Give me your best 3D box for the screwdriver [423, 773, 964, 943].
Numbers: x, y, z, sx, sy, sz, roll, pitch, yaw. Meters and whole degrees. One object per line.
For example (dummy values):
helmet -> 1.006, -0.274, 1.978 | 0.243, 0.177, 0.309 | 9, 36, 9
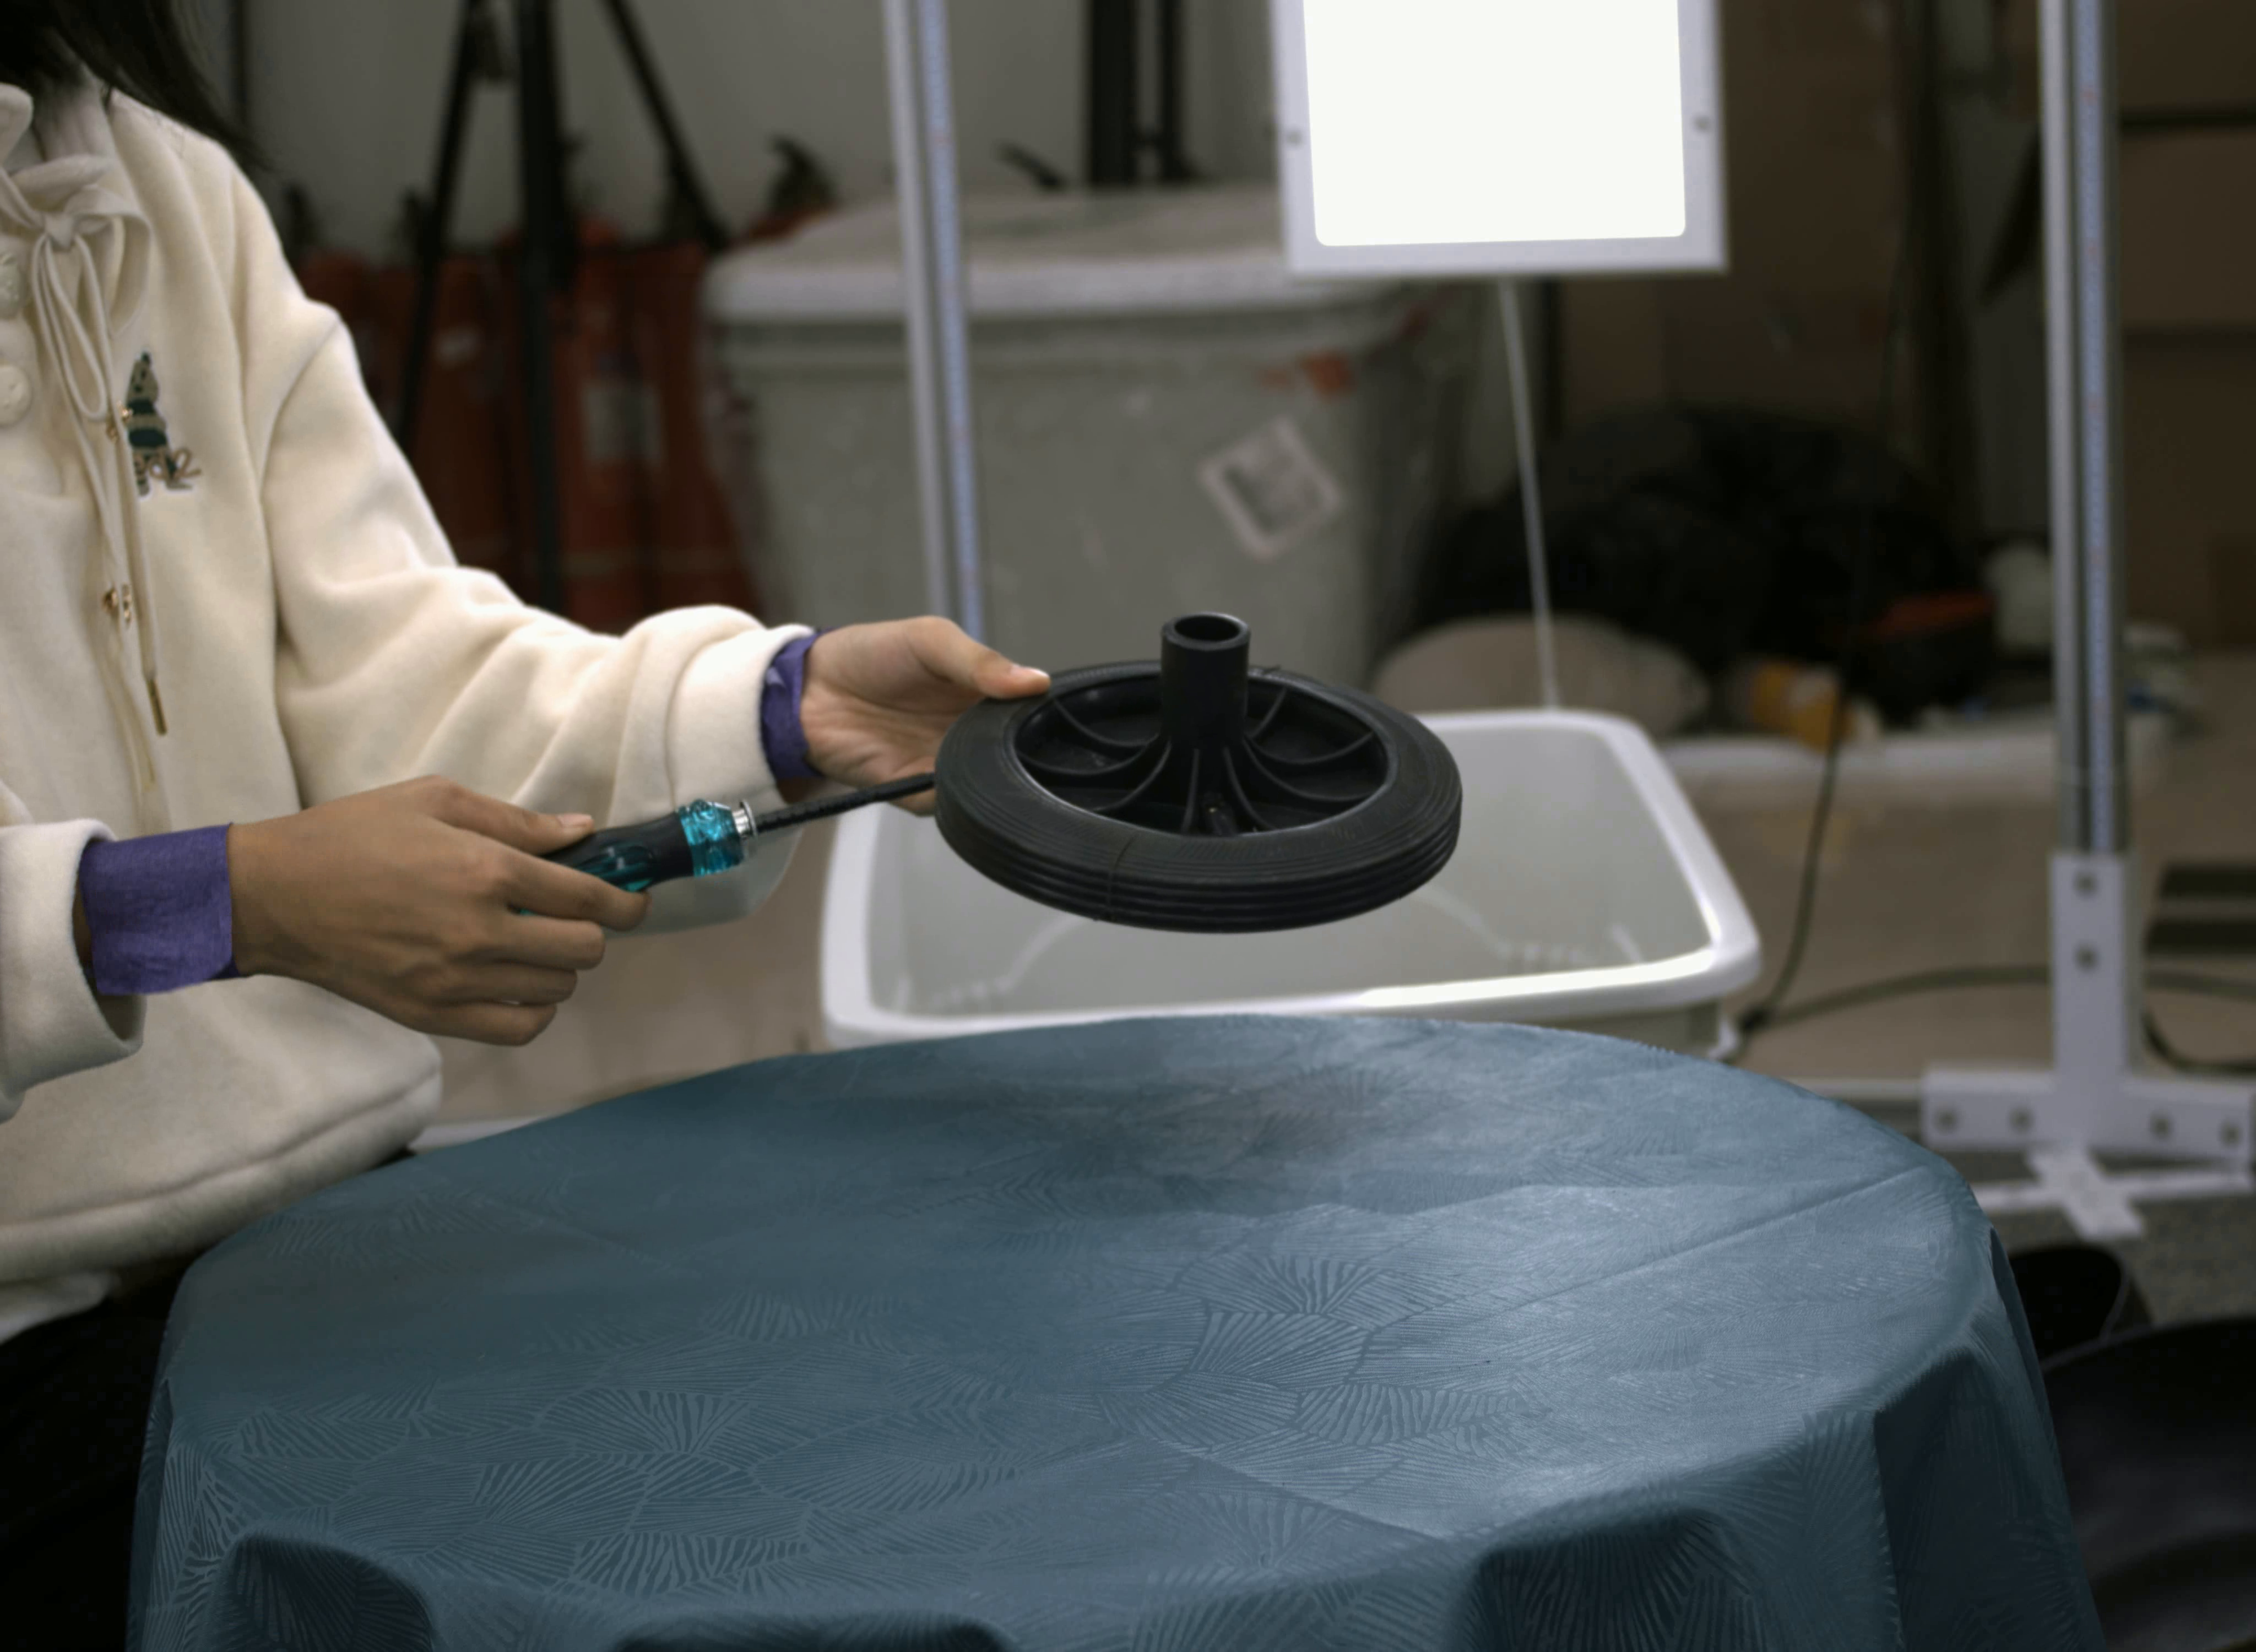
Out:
screwdriver -> -0.146, 0.006, 1.876 | 0.187, 0.034, 0.034 | -14, 15, -11

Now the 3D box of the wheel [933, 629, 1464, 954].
wheel -> 0.027, -0.027, 1.940 | 0.183, 0.079, 0.193 | -15, 33, -30
